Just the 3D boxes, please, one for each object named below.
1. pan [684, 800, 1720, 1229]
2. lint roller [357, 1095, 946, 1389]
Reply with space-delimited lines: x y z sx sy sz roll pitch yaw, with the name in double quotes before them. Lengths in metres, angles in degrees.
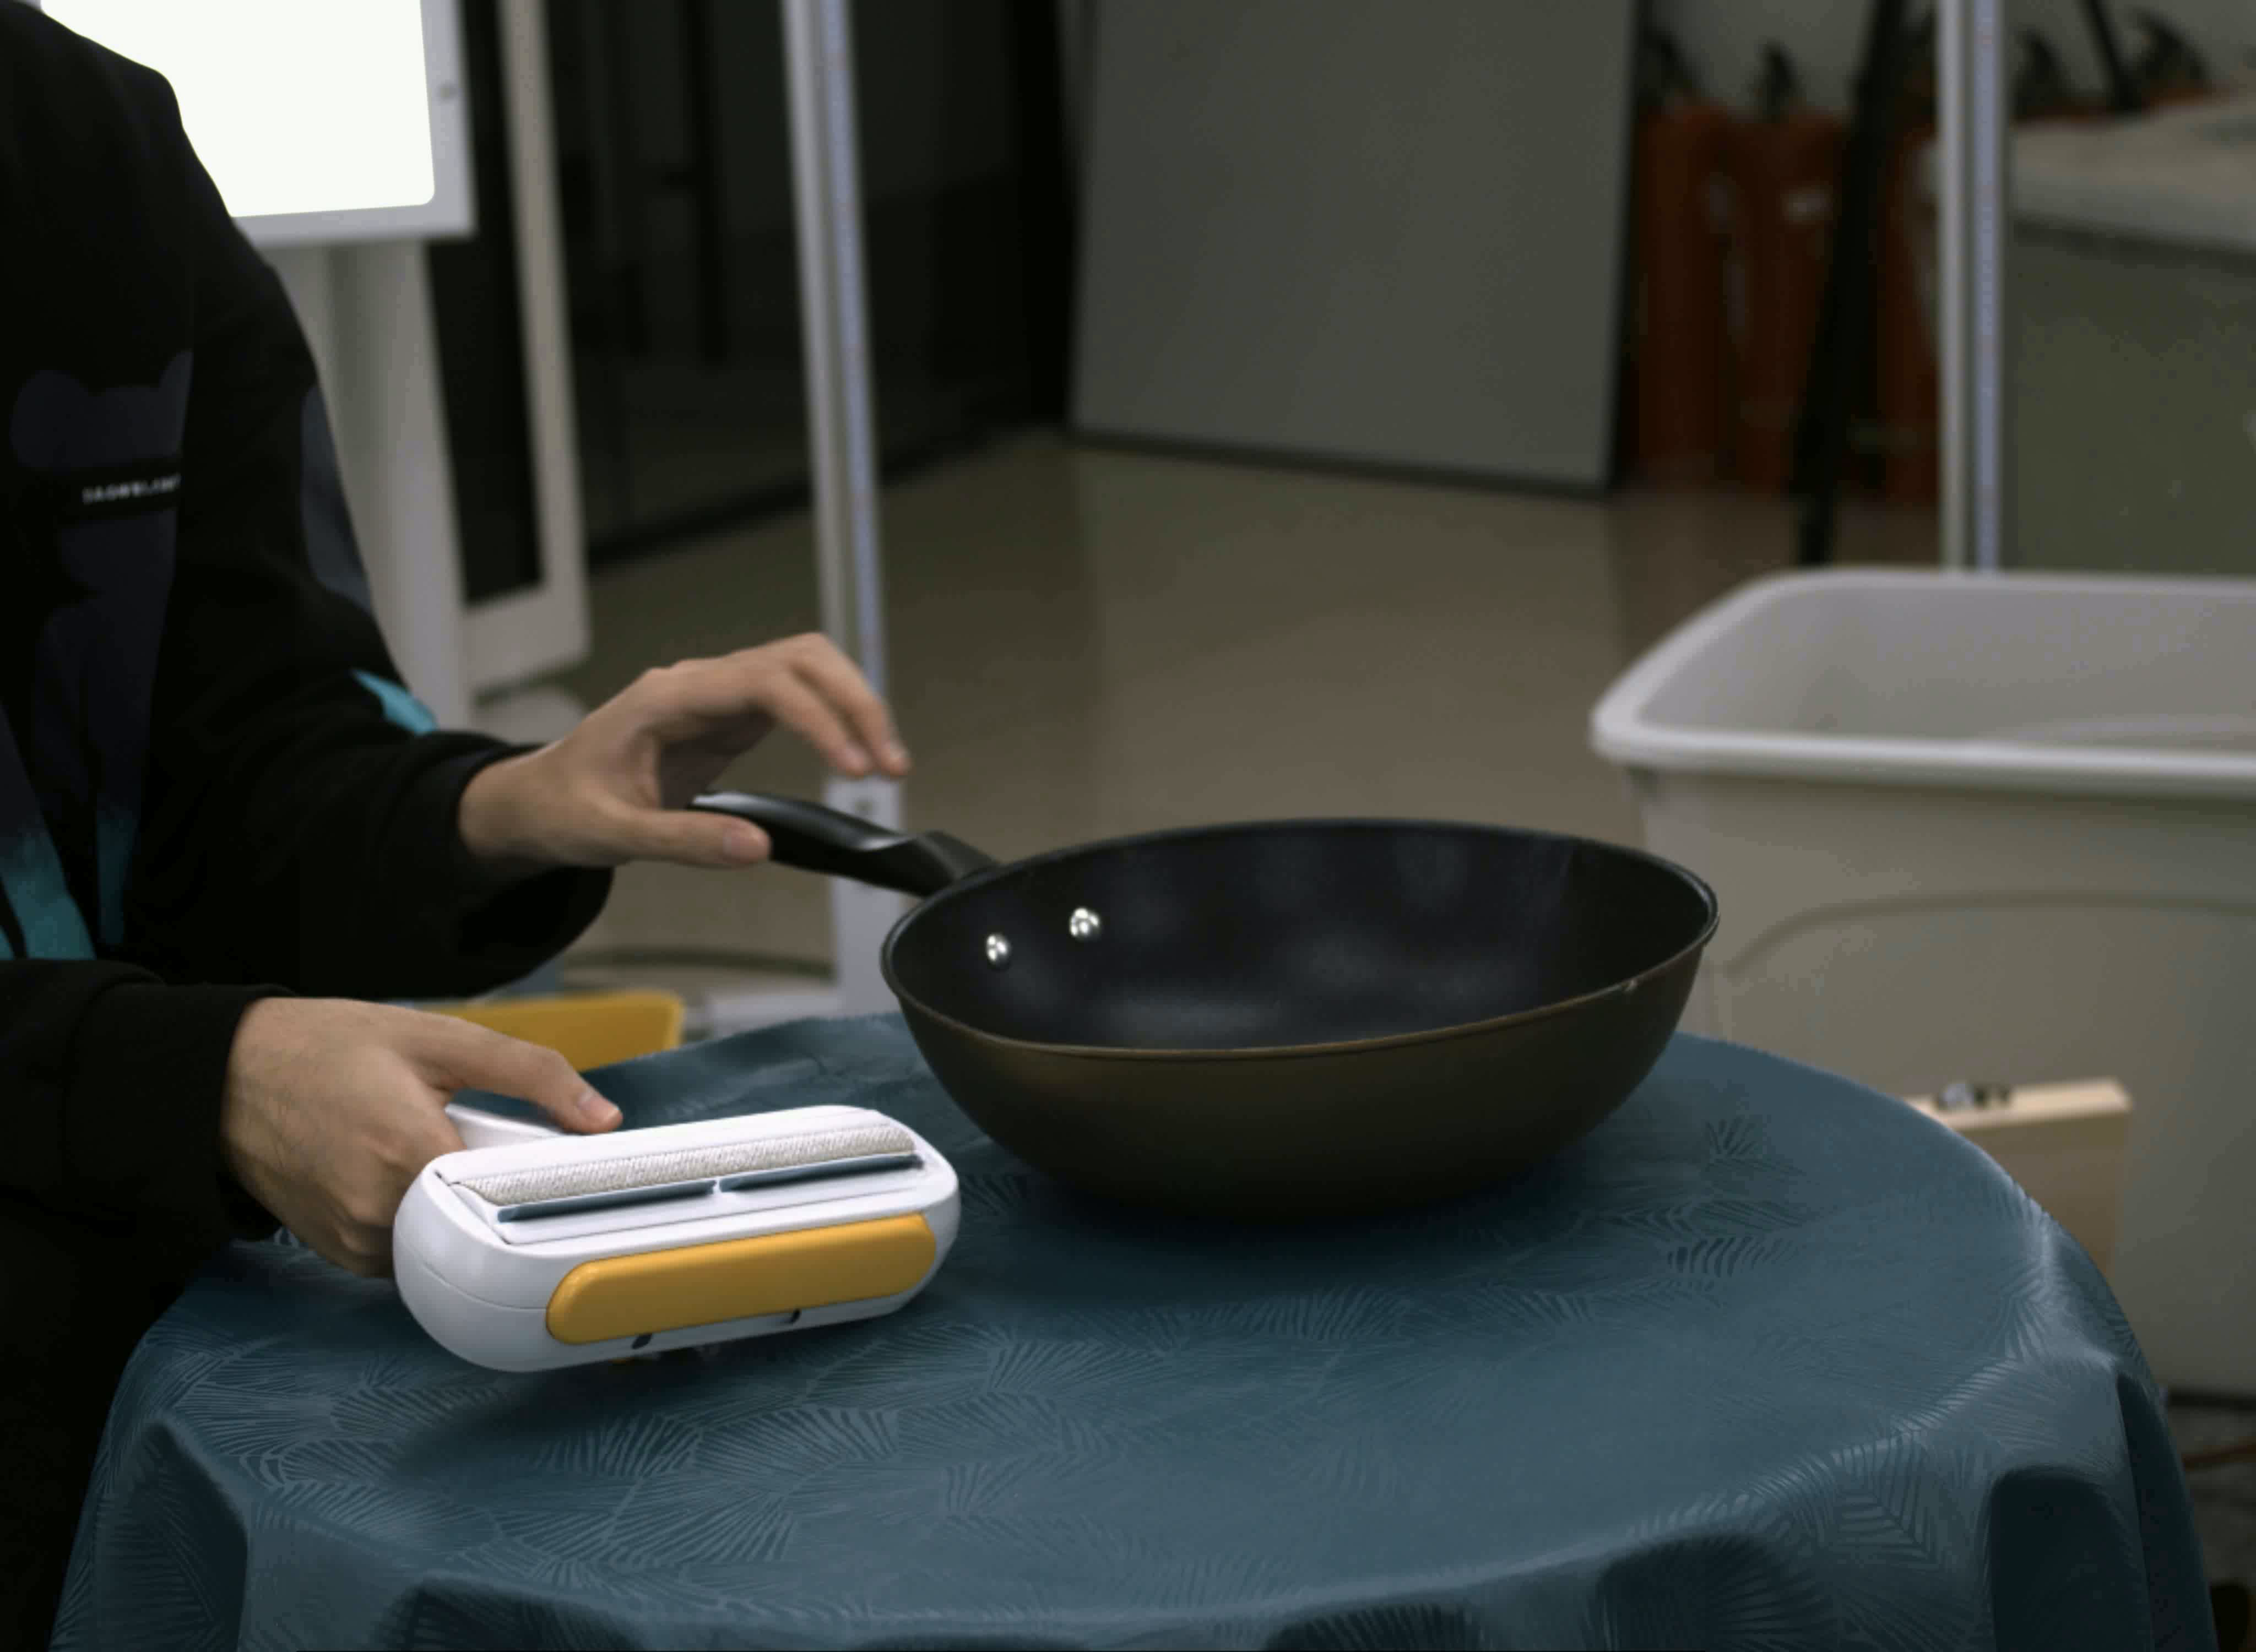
"pan" -0.004 0.059 1.851 0.282 0.088 0.468 -16 18 -41
"lint roller" -0.175 0.112 1.674 0.188 0.075 0.194 -8 24 -35
